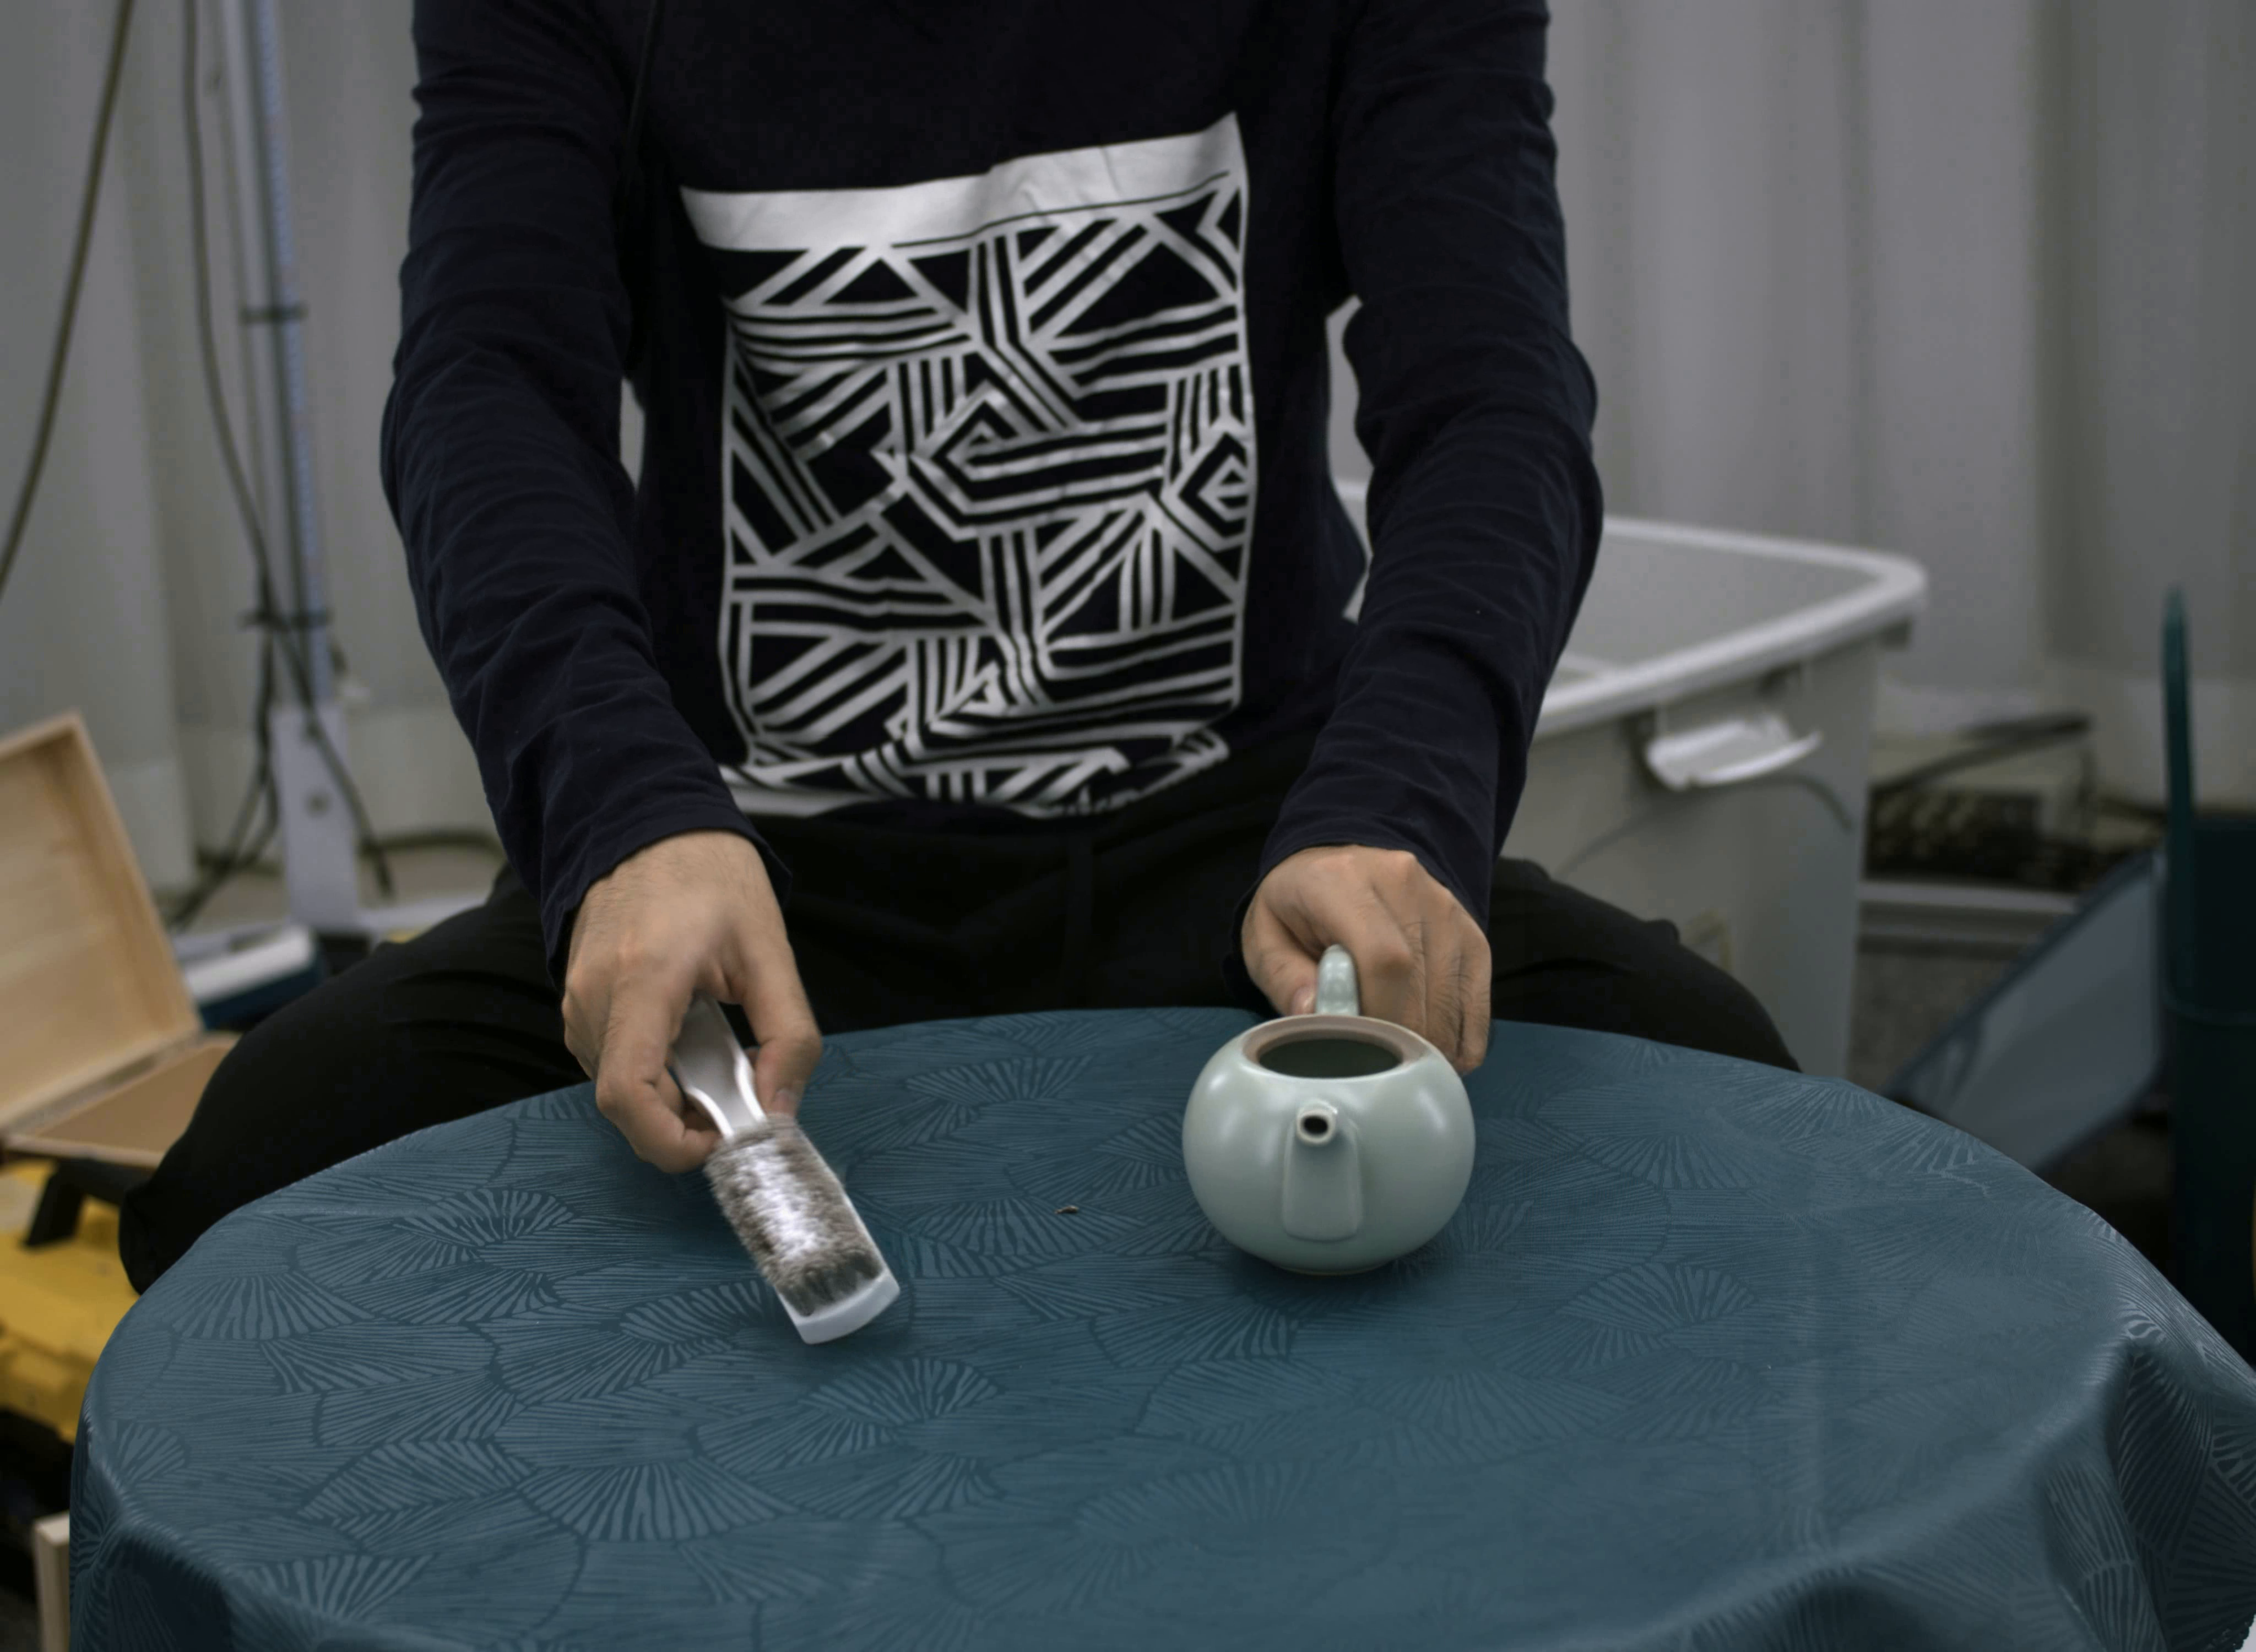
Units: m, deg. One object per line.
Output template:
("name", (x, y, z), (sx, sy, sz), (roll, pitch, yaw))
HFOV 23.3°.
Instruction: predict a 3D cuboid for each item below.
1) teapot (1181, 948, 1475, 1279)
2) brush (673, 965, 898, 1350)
("teapot", (0.060, 0.094, 1.639), (0.088, 0.074, 0.145), (0, 20, 7))
("brush", (-0.117, 0.085, 1.680), (0.034, 0.050, 0.246), (-29, 29, -2))
